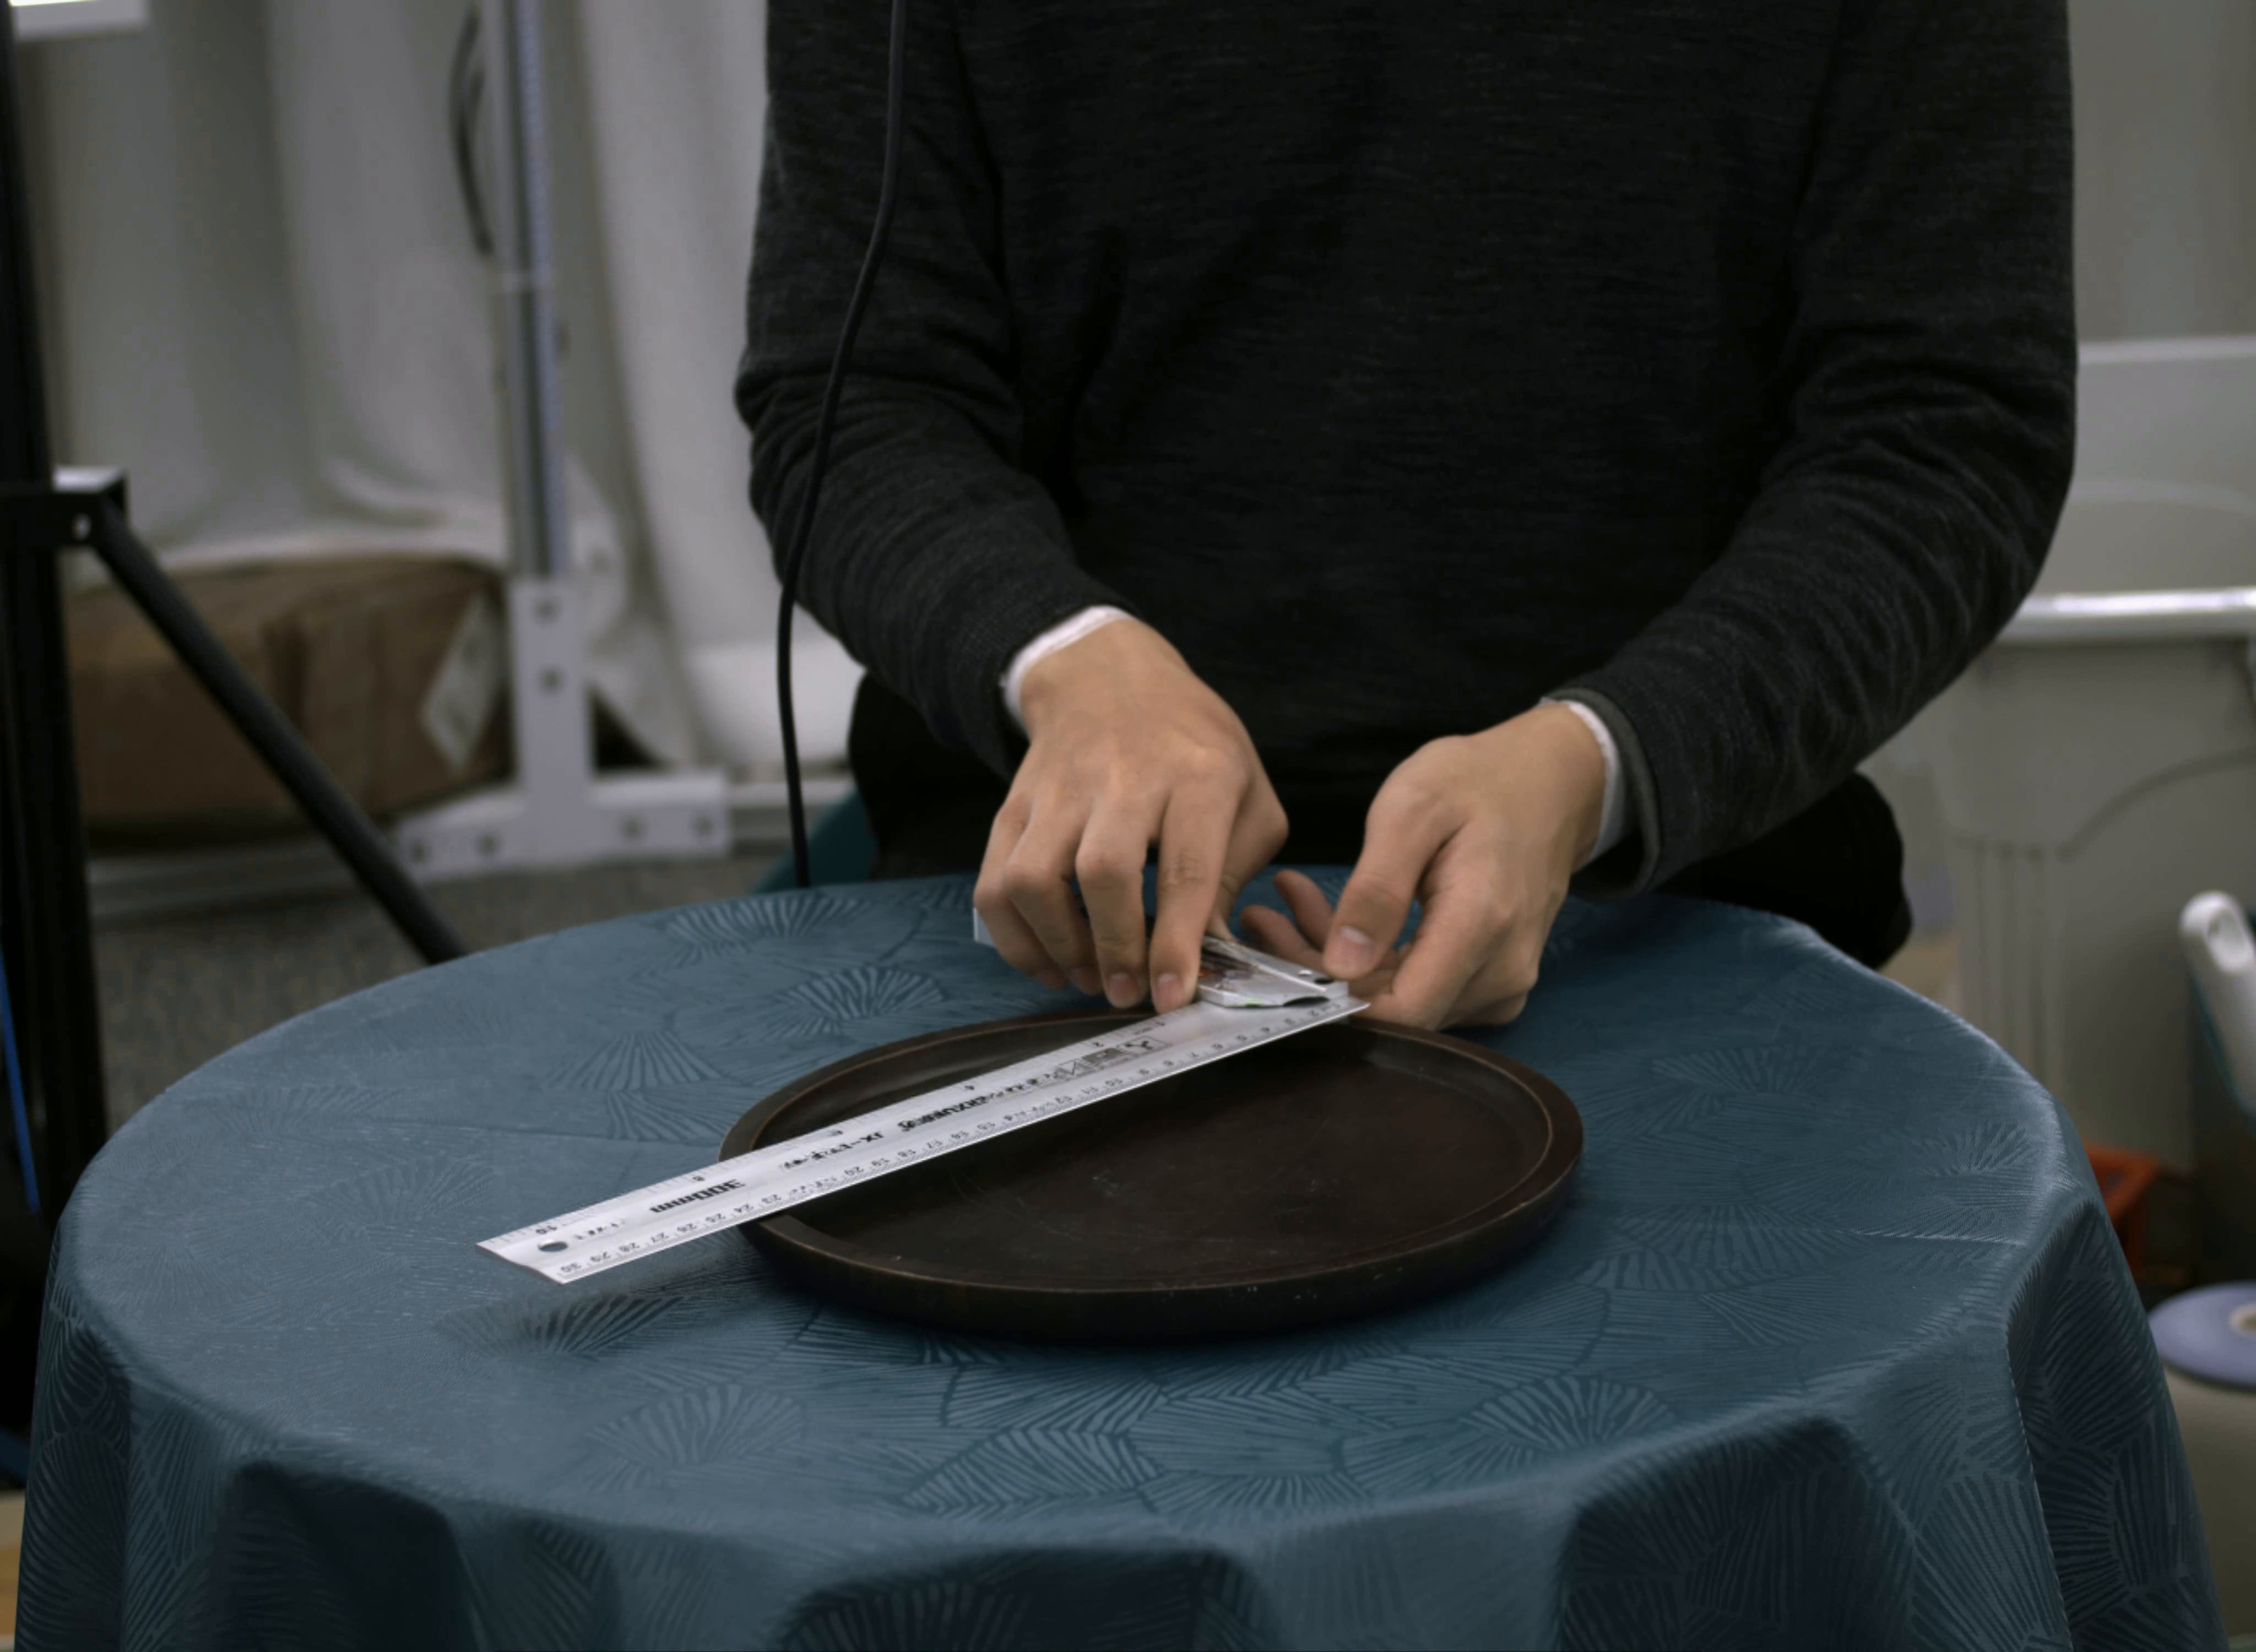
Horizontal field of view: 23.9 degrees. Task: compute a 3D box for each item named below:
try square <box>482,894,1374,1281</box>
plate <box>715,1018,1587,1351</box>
[{"bbox_3d":[-0.086,0.075,1.596,0.306,0.016,0.156,-16,21,-37],"label":"try square"},{"bbox_3d":[0.007,0.100,1.541,0.253,0.029,0.256,-3,17,-1],"label":"plate"}]
